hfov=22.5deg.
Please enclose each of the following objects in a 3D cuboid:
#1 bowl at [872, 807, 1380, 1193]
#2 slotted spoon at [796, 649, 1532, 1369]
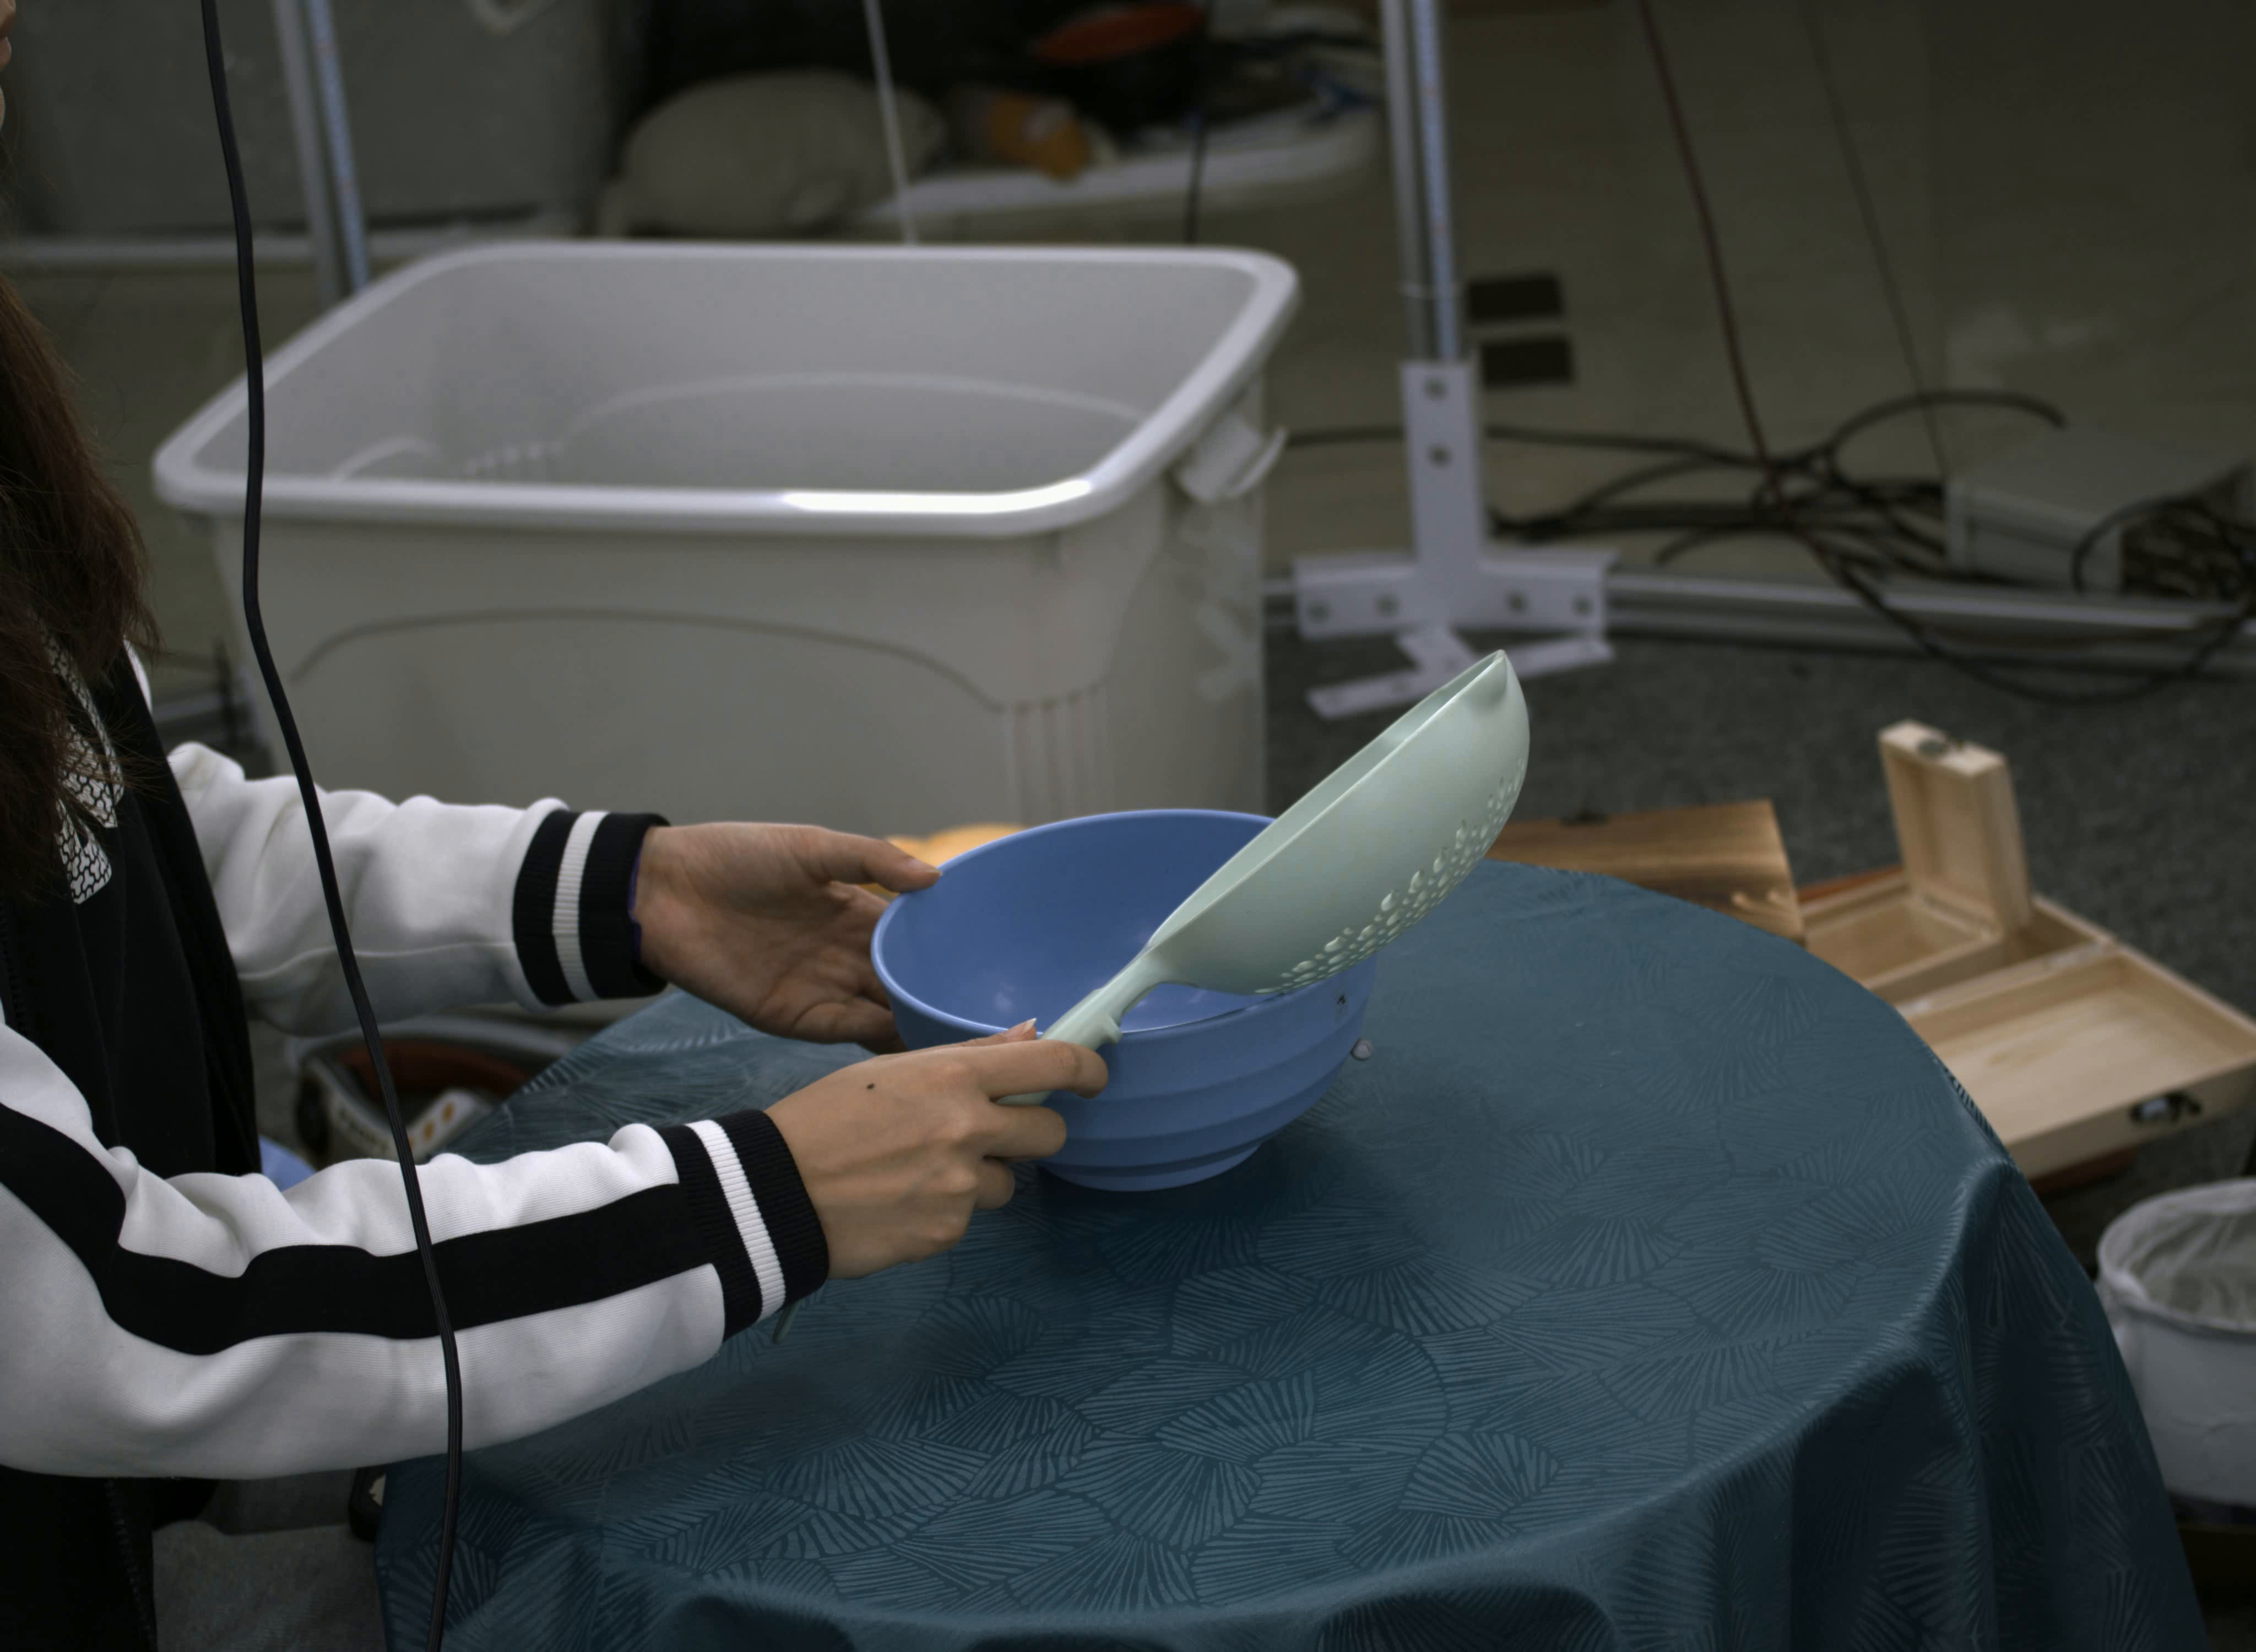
[{"bbox_3d":[0.005,0.077,2.166,0.196,0.097,0.193,-5,26,3],"label":"bowl"},{"bbox_3d":[0.009,0.065,2.053,0.357,0.075,0.169,-34,1,-9],"label":"slotted spoon"}]
